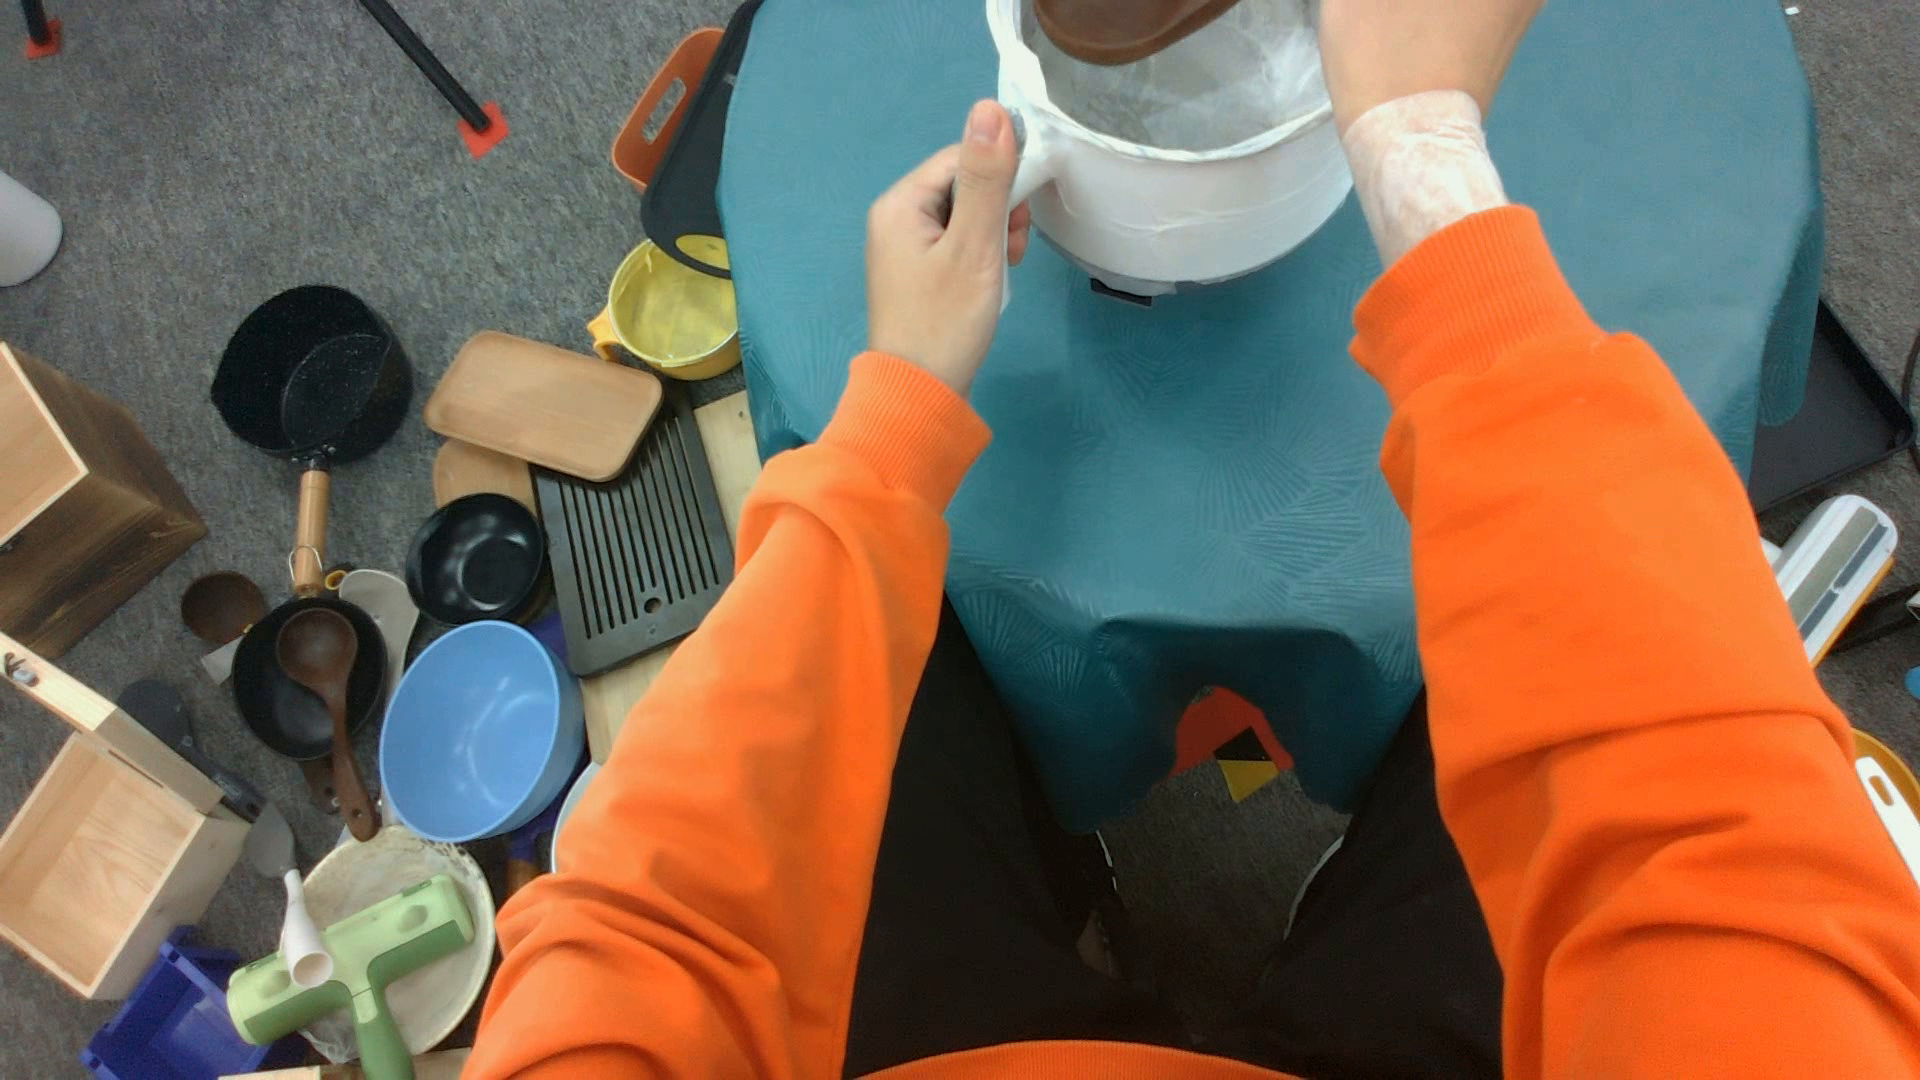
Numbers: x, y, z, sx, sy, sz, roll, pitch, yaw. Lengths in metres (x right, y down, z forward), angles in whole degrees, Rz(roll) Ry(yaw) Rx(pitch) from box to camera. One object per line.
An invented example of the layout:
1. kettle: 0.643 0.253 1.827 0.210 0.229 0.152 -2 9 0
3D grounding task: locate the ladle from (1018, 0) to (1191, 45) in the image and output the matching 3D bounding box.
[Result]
1. ladle: 0.125 -0.262 0.533 0.259 0.065 0.077 -9 65 48

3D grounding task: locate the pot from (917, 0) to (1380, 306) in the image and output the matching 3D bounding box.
1. pot: 0.075 -0.206 0.640 0.234 0.136 0.179 -41 72 -10
